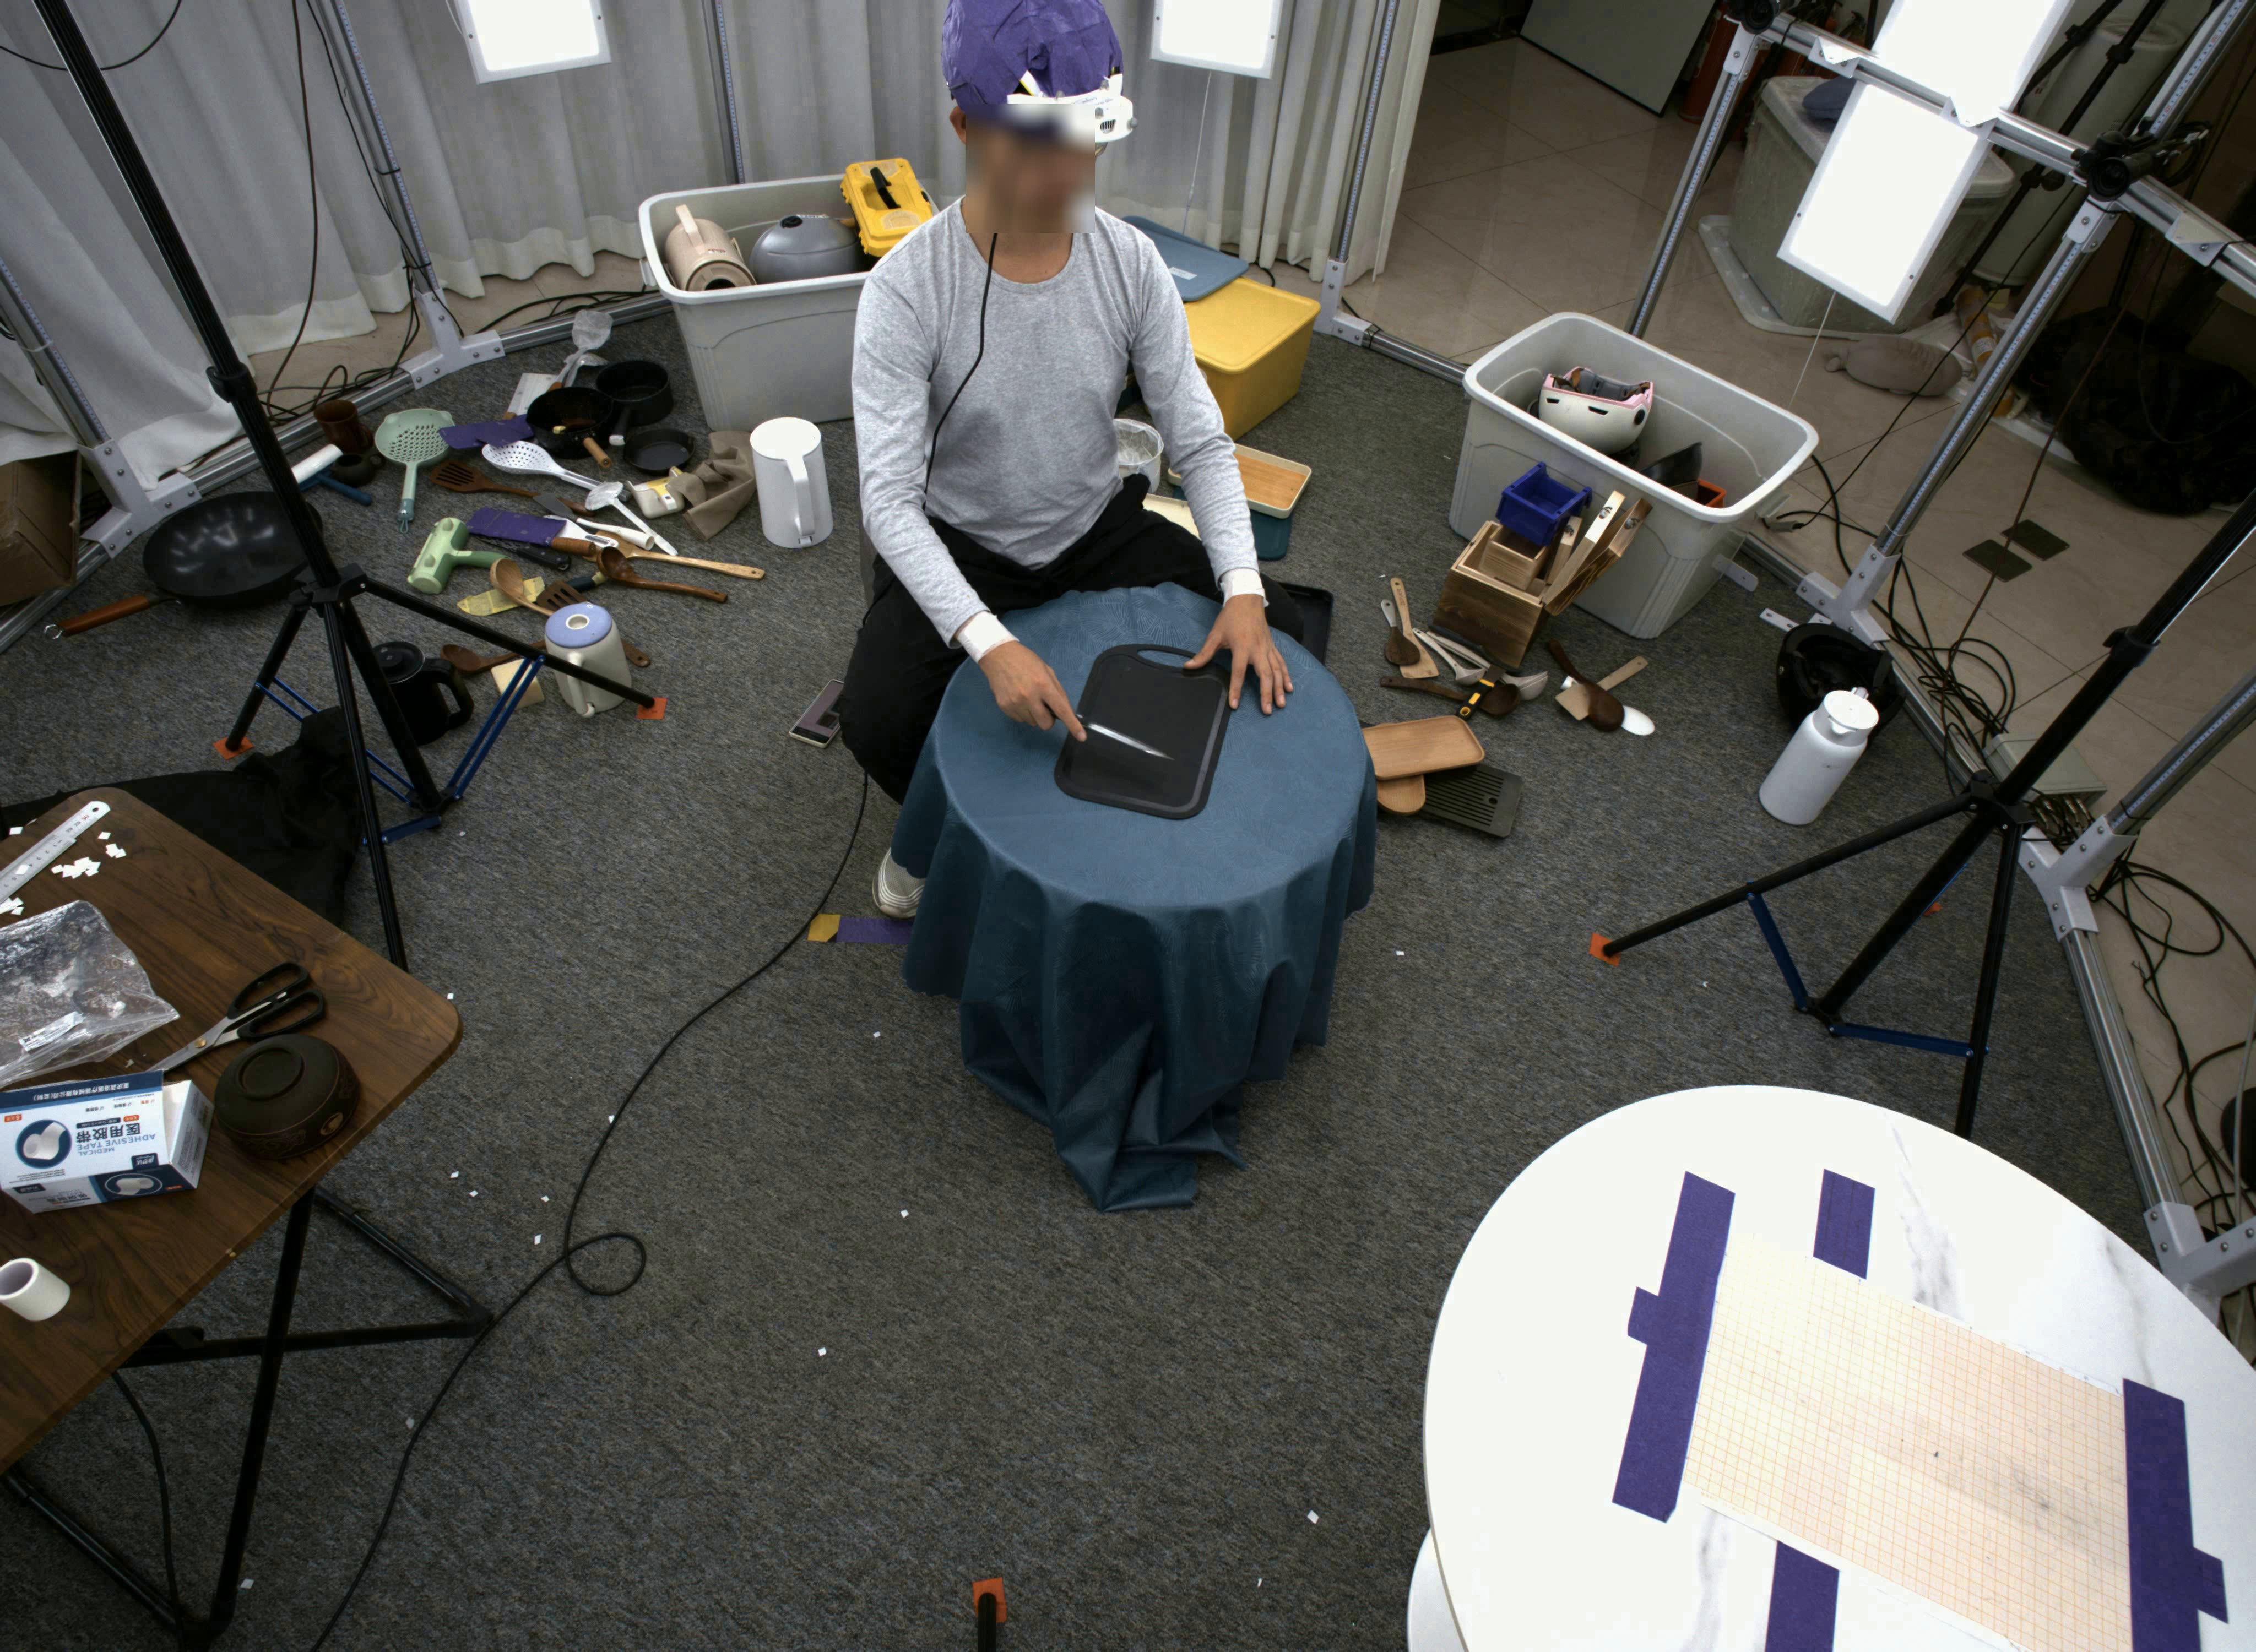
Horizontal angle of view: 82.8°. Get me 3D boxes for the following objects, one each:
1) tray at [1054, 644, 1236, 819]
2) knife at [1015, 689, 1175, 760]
[{"bbox_3d":[0.030,-0.145,1.791,0.211,0.009,0.332,13,49,7],"label":"tray"},{"bbox_3d":[-0.047,-0.134,1.721,0.239,0.016,0.025,23,37,11],"label":"knife"}]
